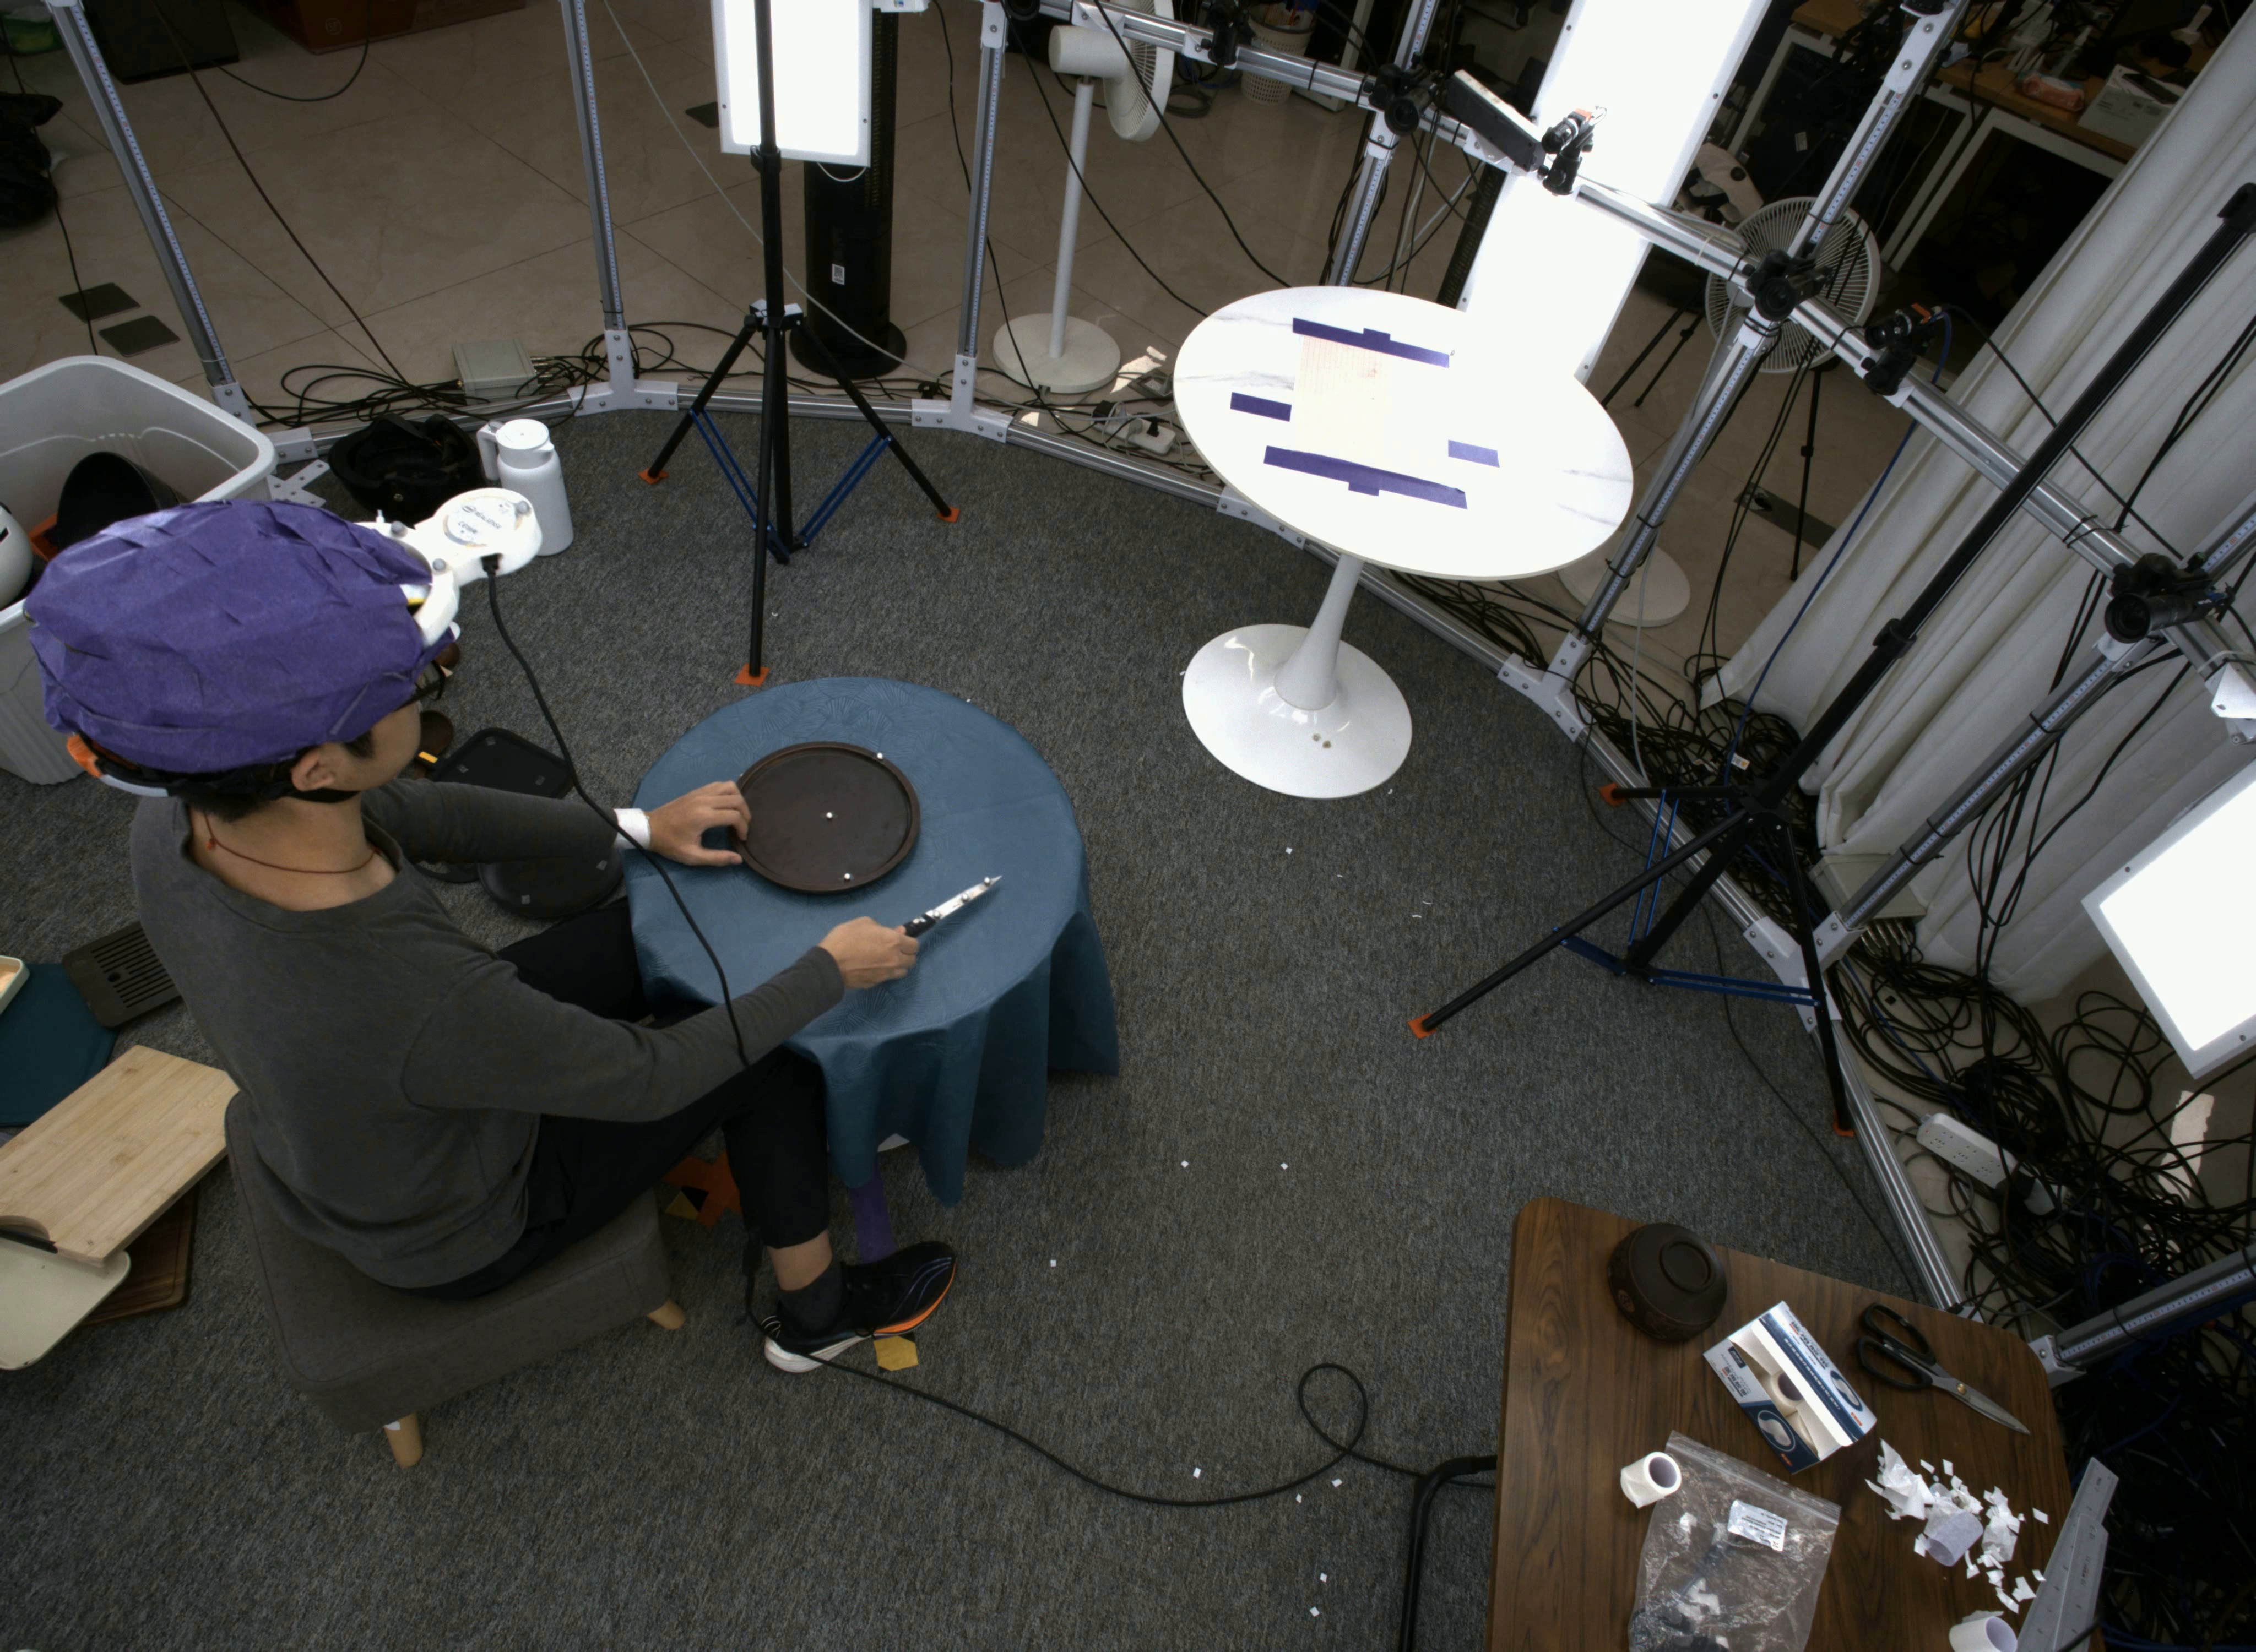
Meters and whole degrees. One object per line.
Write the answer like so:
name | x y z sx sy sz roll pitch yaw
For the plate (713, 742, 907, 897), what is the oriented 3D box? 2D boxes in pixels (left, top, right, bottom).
plate | -0.423 -0.010 1.729 0.254 0.029 0.250 8 51 -9

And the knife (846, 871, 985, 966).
knife | -0.262 0.112 1.649 0.023 0.017 0.239 28 42 28
